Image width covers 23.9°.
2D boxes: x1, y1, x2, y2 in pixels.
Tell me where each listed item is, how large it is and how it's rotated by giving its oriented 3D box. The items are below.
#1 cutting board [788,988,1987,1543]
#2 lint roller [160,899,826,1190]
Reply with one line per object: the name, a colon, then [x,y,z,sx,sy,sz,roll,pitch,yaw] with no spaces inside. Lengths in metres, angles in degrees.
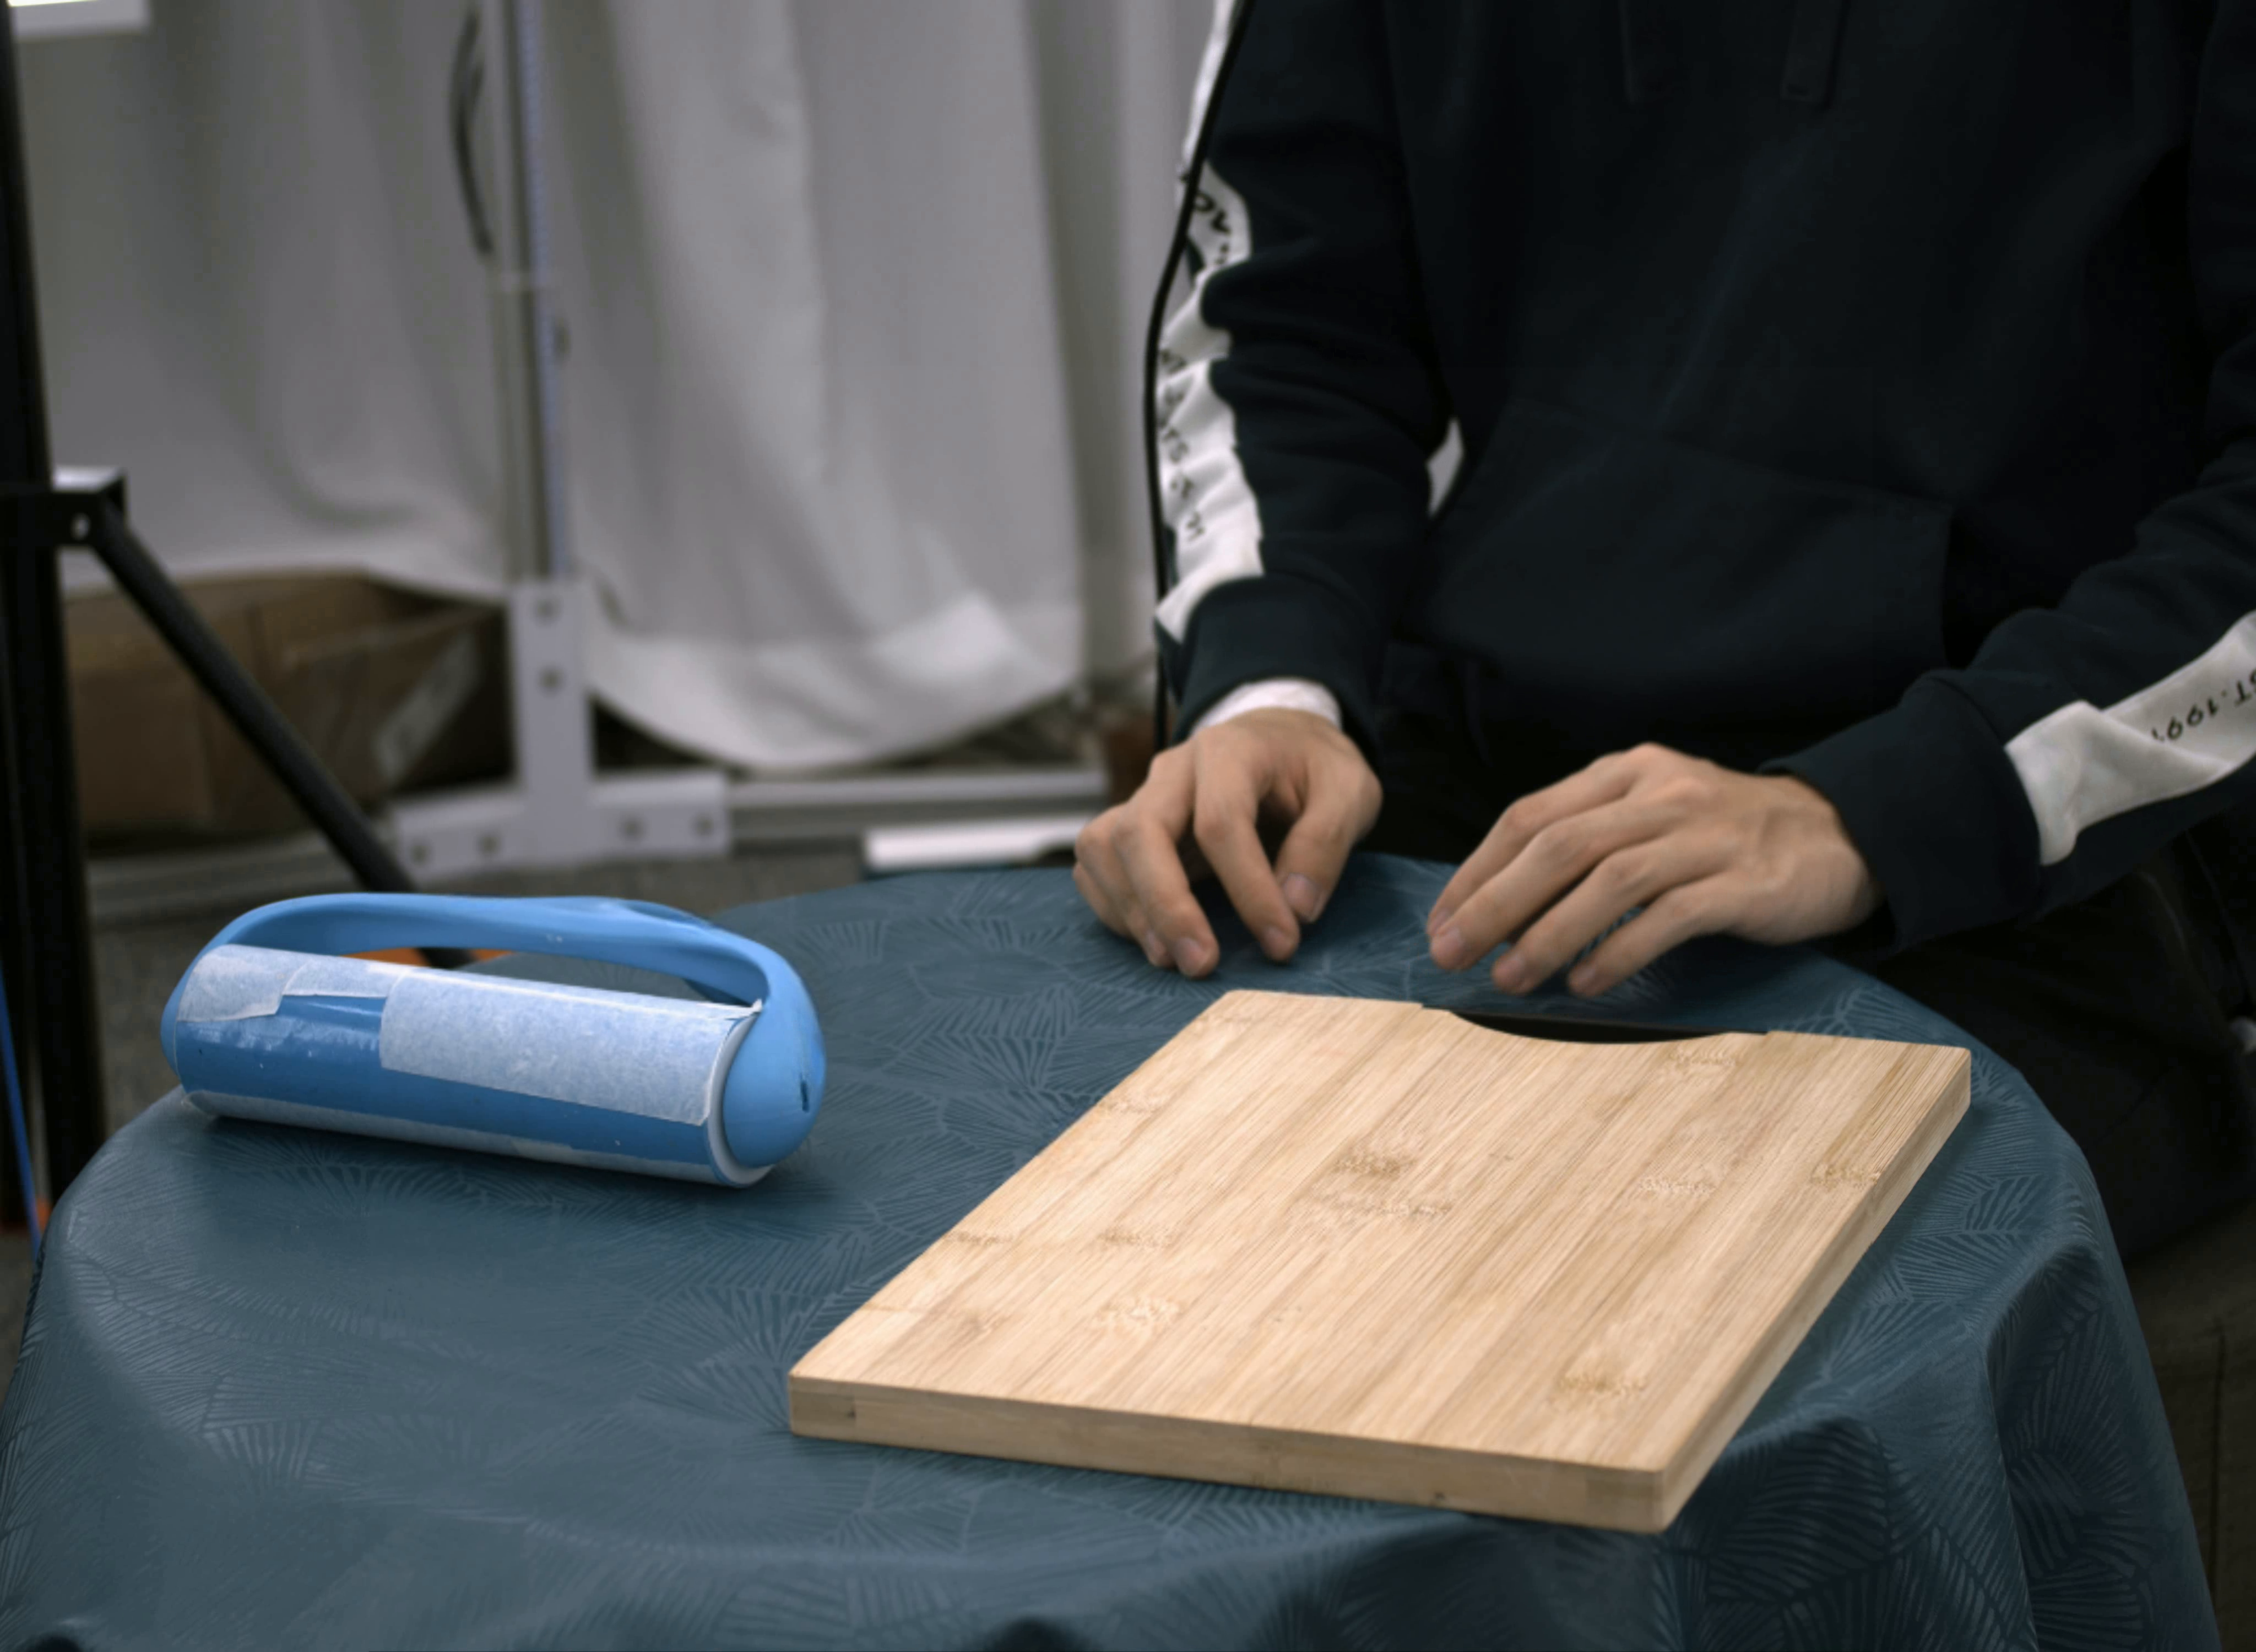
cutting board: [0.084,0.114,1.493,0.254,0.023,0.344,4,17,21]
lint roller: [-0.172,0.055,1.669,0.232,0.068,0.177,3,18,26]
